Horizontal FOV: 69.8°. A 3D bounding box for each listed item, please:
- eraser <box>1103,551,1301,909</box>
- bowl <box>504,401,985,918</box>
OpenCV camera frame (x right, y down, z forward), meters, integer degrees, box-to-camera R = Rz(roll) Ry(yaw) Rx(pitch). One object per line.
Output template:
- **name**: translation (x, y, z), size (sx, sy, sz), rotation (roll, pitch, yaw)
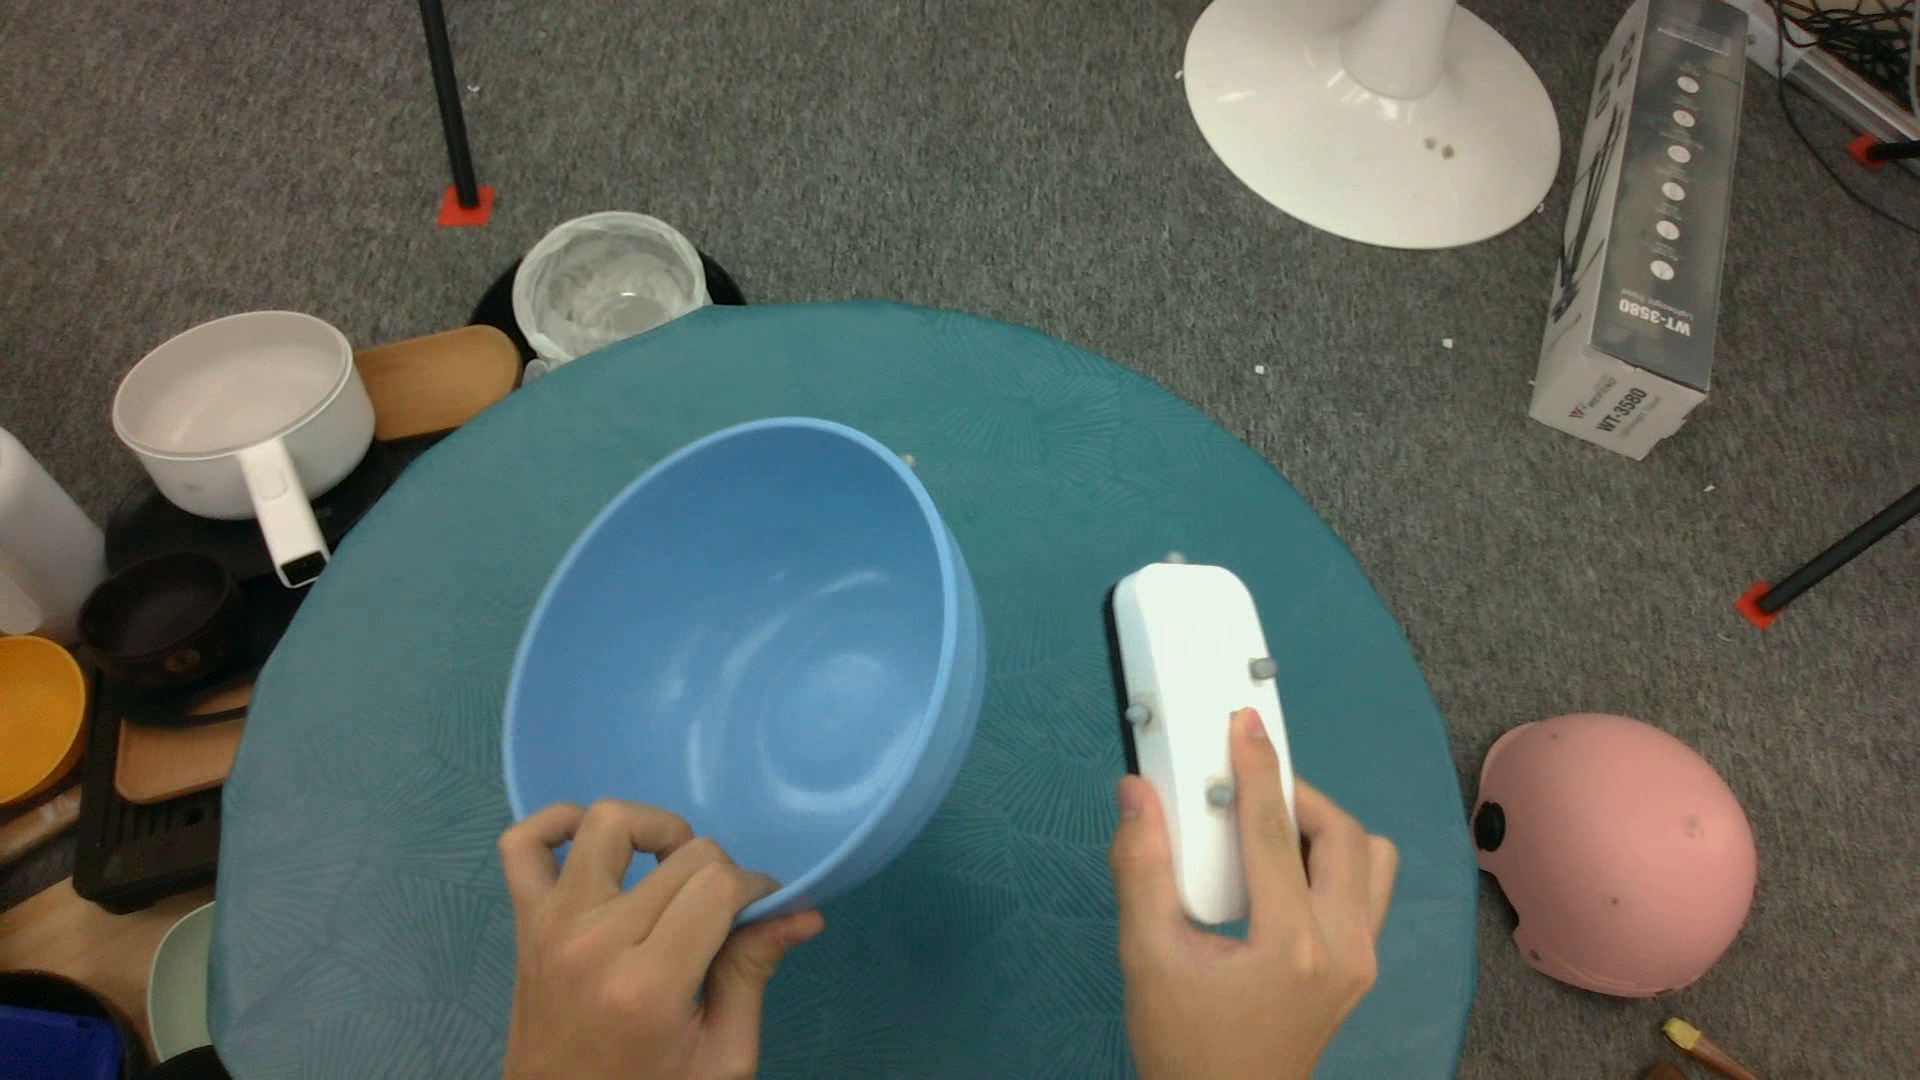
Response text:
- **eraser**: translation (0.090, 0.069, 0.516), size (0.063, 0.034, 0.131), rotation (4, 72, -35)
- **bowl**: translation (-0.070, 0.053, 0.542), size (0.196, 0.095, 0.197), rotation (-10, 65, 22)
